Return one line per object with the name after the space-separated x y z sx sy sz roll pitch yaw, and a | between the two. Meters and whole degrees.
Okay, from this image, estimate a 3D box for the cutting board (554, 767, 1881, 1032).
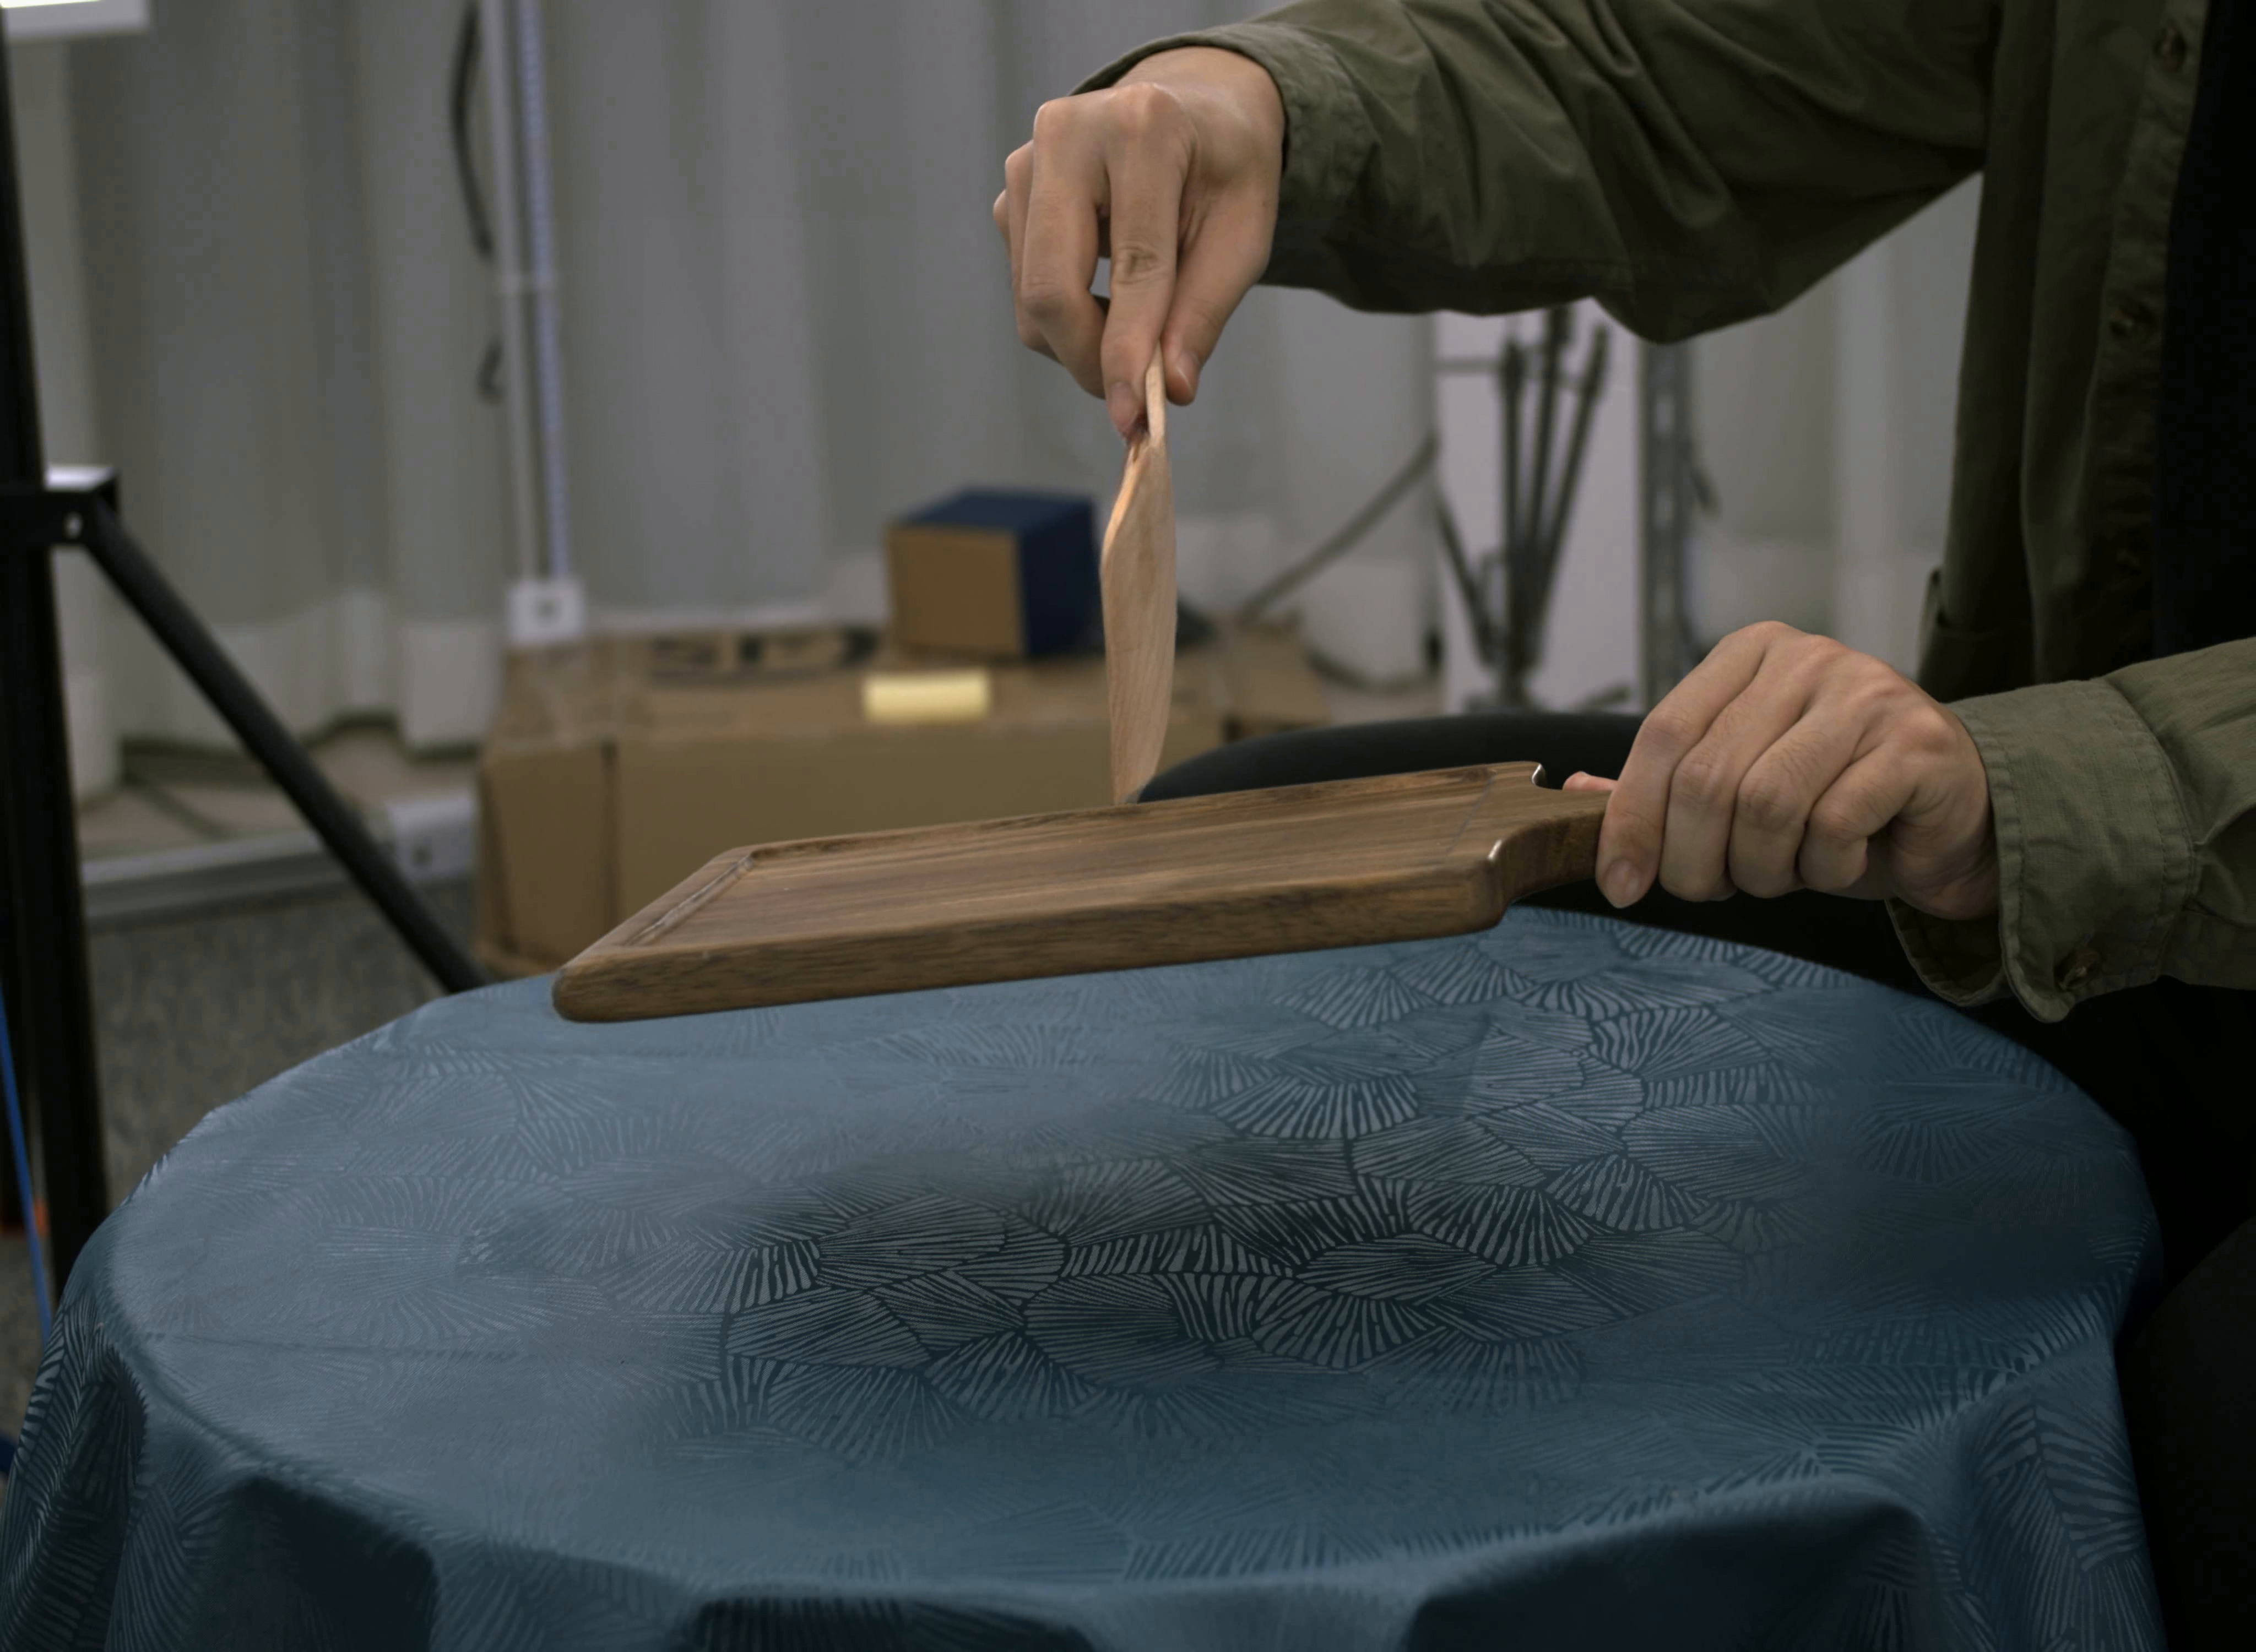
0.031 0.014 1.469 0.354 0.023 0.199 -6 8 12 | cutting board

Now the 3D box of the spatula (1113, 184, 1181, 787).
0.006 -0.119 1.551 0.016 0.079 0.330 -4 28 3 | spatula
